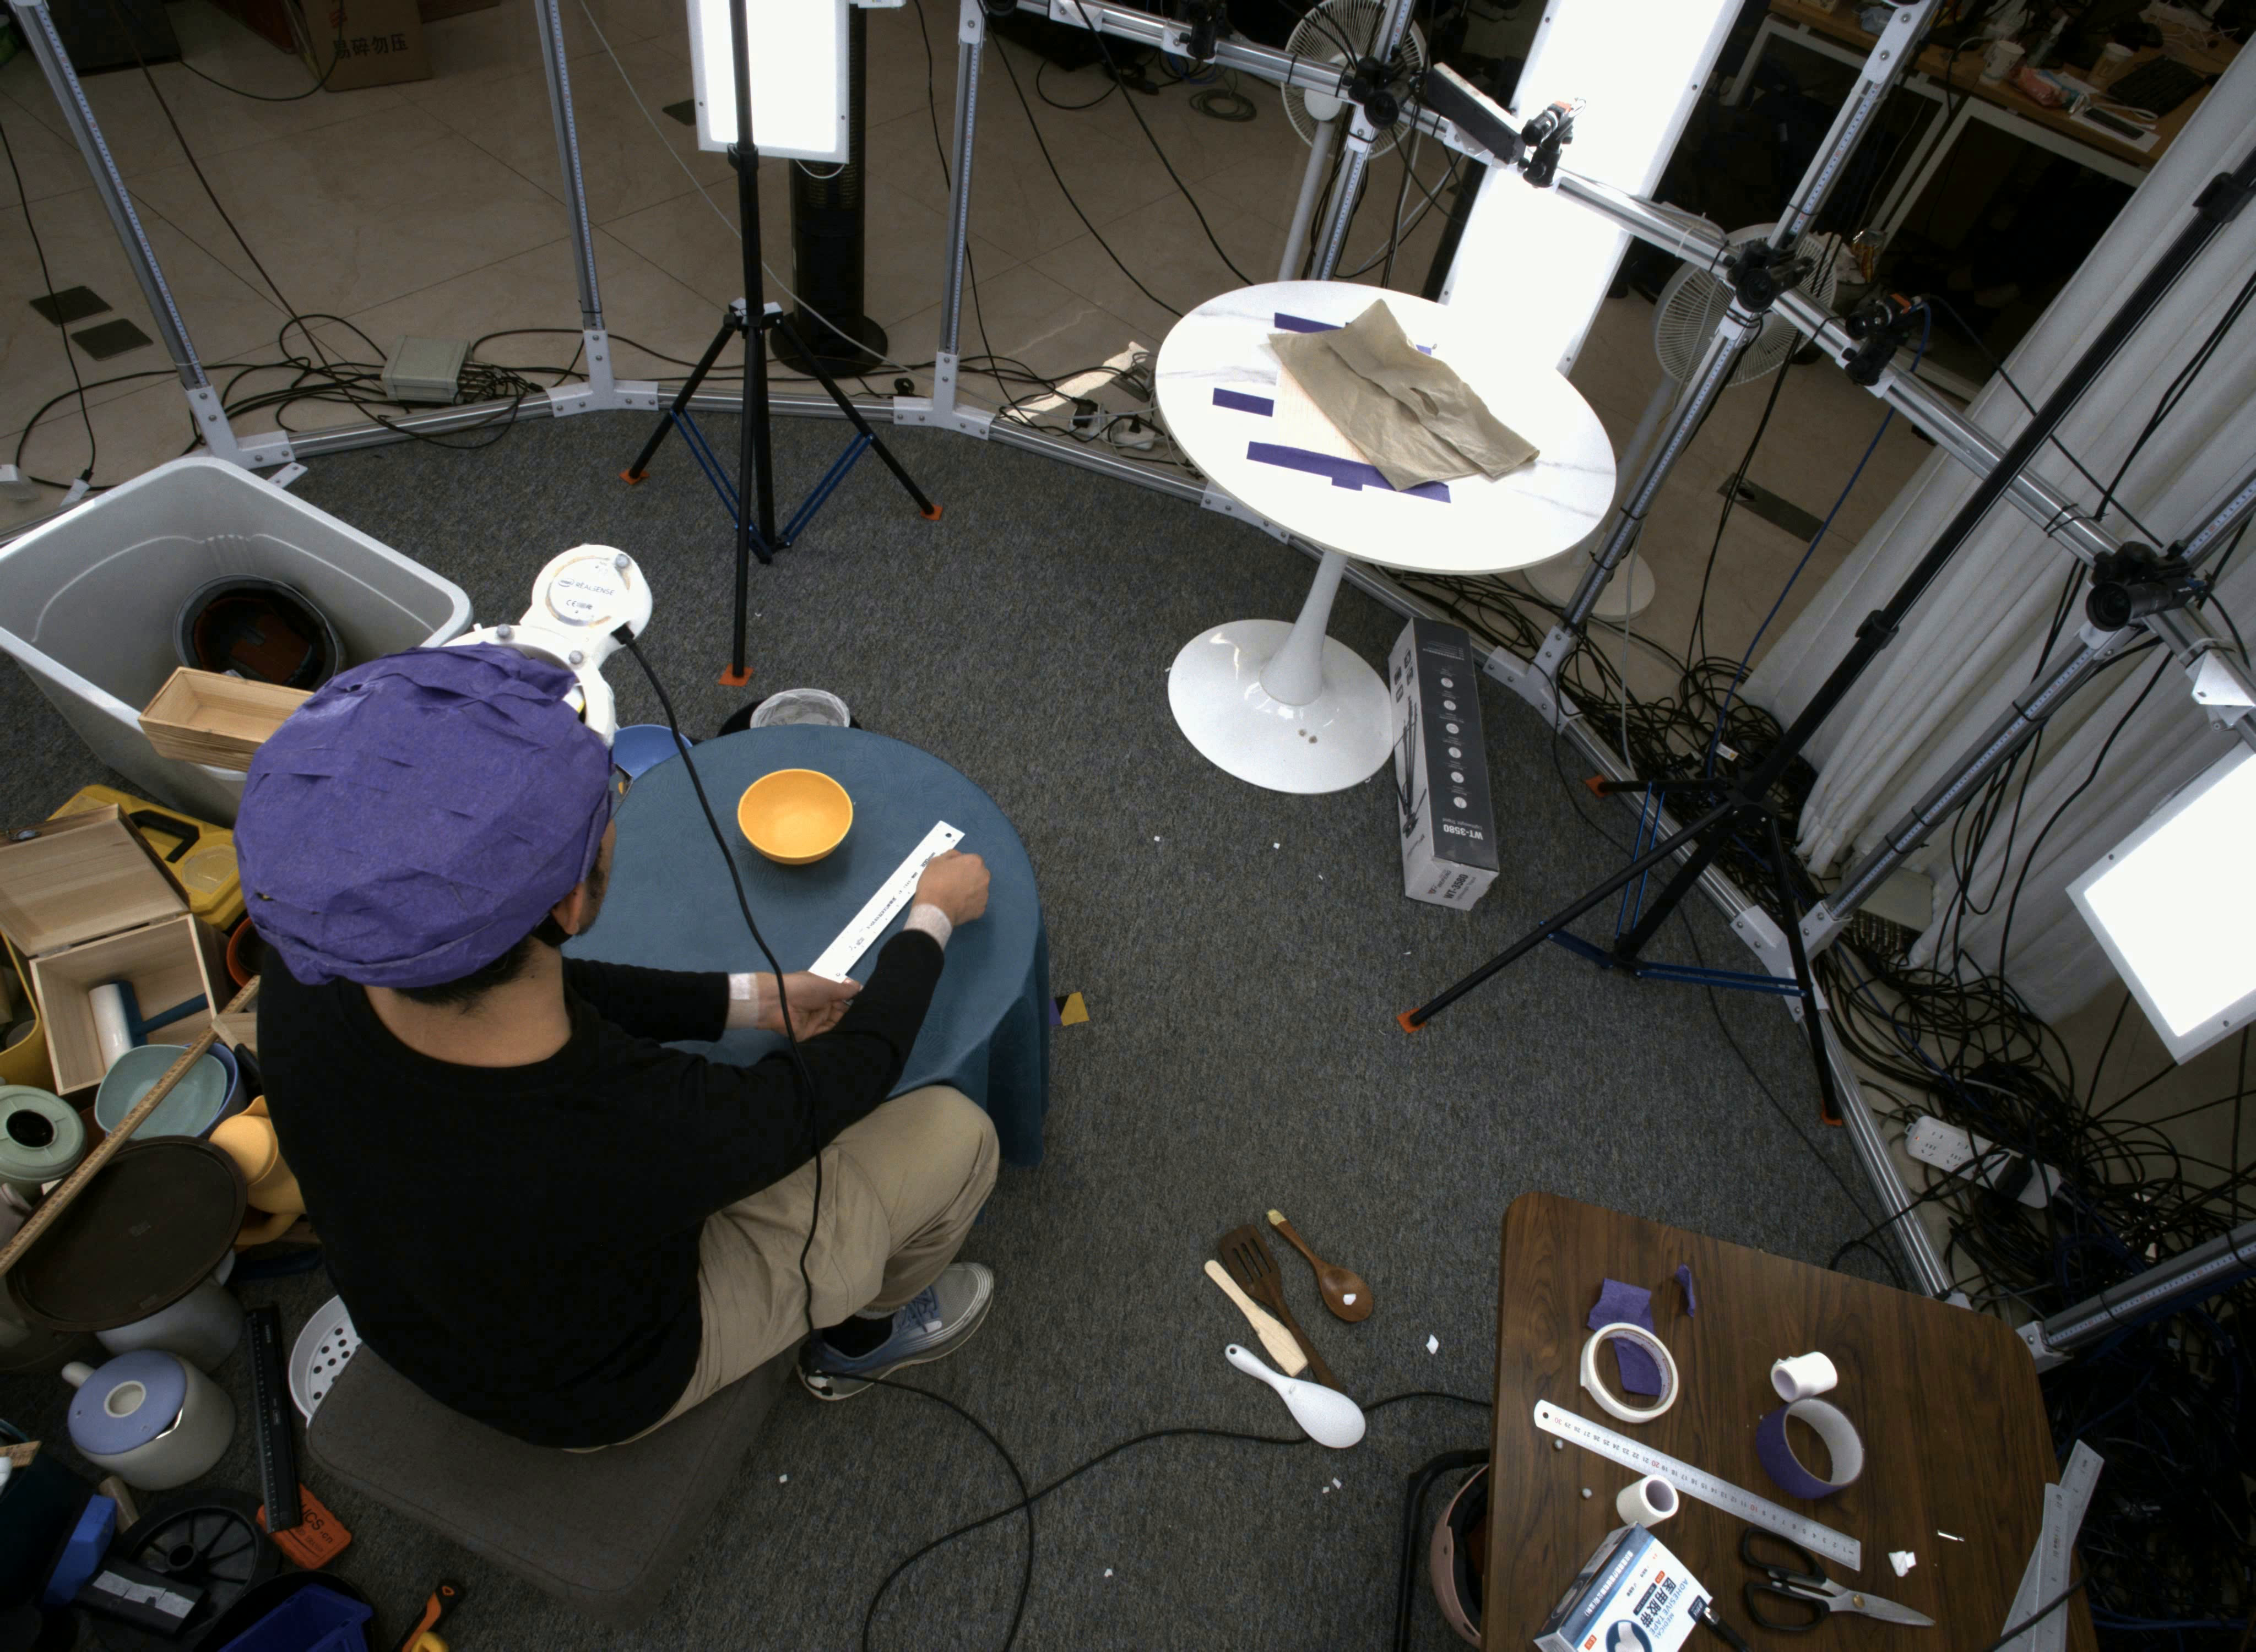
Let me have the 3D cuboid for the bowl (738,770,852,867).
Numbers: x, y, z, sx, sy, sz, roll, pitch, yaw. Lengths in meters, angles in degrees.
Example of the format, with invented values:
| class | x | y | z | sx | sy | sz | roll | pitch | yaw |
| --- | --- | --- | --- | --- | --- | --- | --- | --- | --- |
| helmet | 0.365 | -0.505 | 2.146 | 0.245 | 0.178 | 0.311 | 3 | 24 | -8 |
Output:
| class | x | y | z | sx | sy | sz | roll | pitch | yaw |
| --- | --- | --- | --- | --- | --- | --- | --- | --- | --- |
| bowl | -0.429 | 0.001 | 1.681 | 0.144 | 0.061 | 0.143 | 6 | 53 | -7 |

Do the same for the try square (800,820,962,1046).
| class | x | y | z | sx | sy | sz | roll | pitch | yaw |
| --- | --- | --- | --- | --- | --- | --- | --- | --- | --- |
| try square | -0.265 | 0.126 | 1.664 | 0.150 | 0.016 | 0.311 | 31 | 51 | 6 |
